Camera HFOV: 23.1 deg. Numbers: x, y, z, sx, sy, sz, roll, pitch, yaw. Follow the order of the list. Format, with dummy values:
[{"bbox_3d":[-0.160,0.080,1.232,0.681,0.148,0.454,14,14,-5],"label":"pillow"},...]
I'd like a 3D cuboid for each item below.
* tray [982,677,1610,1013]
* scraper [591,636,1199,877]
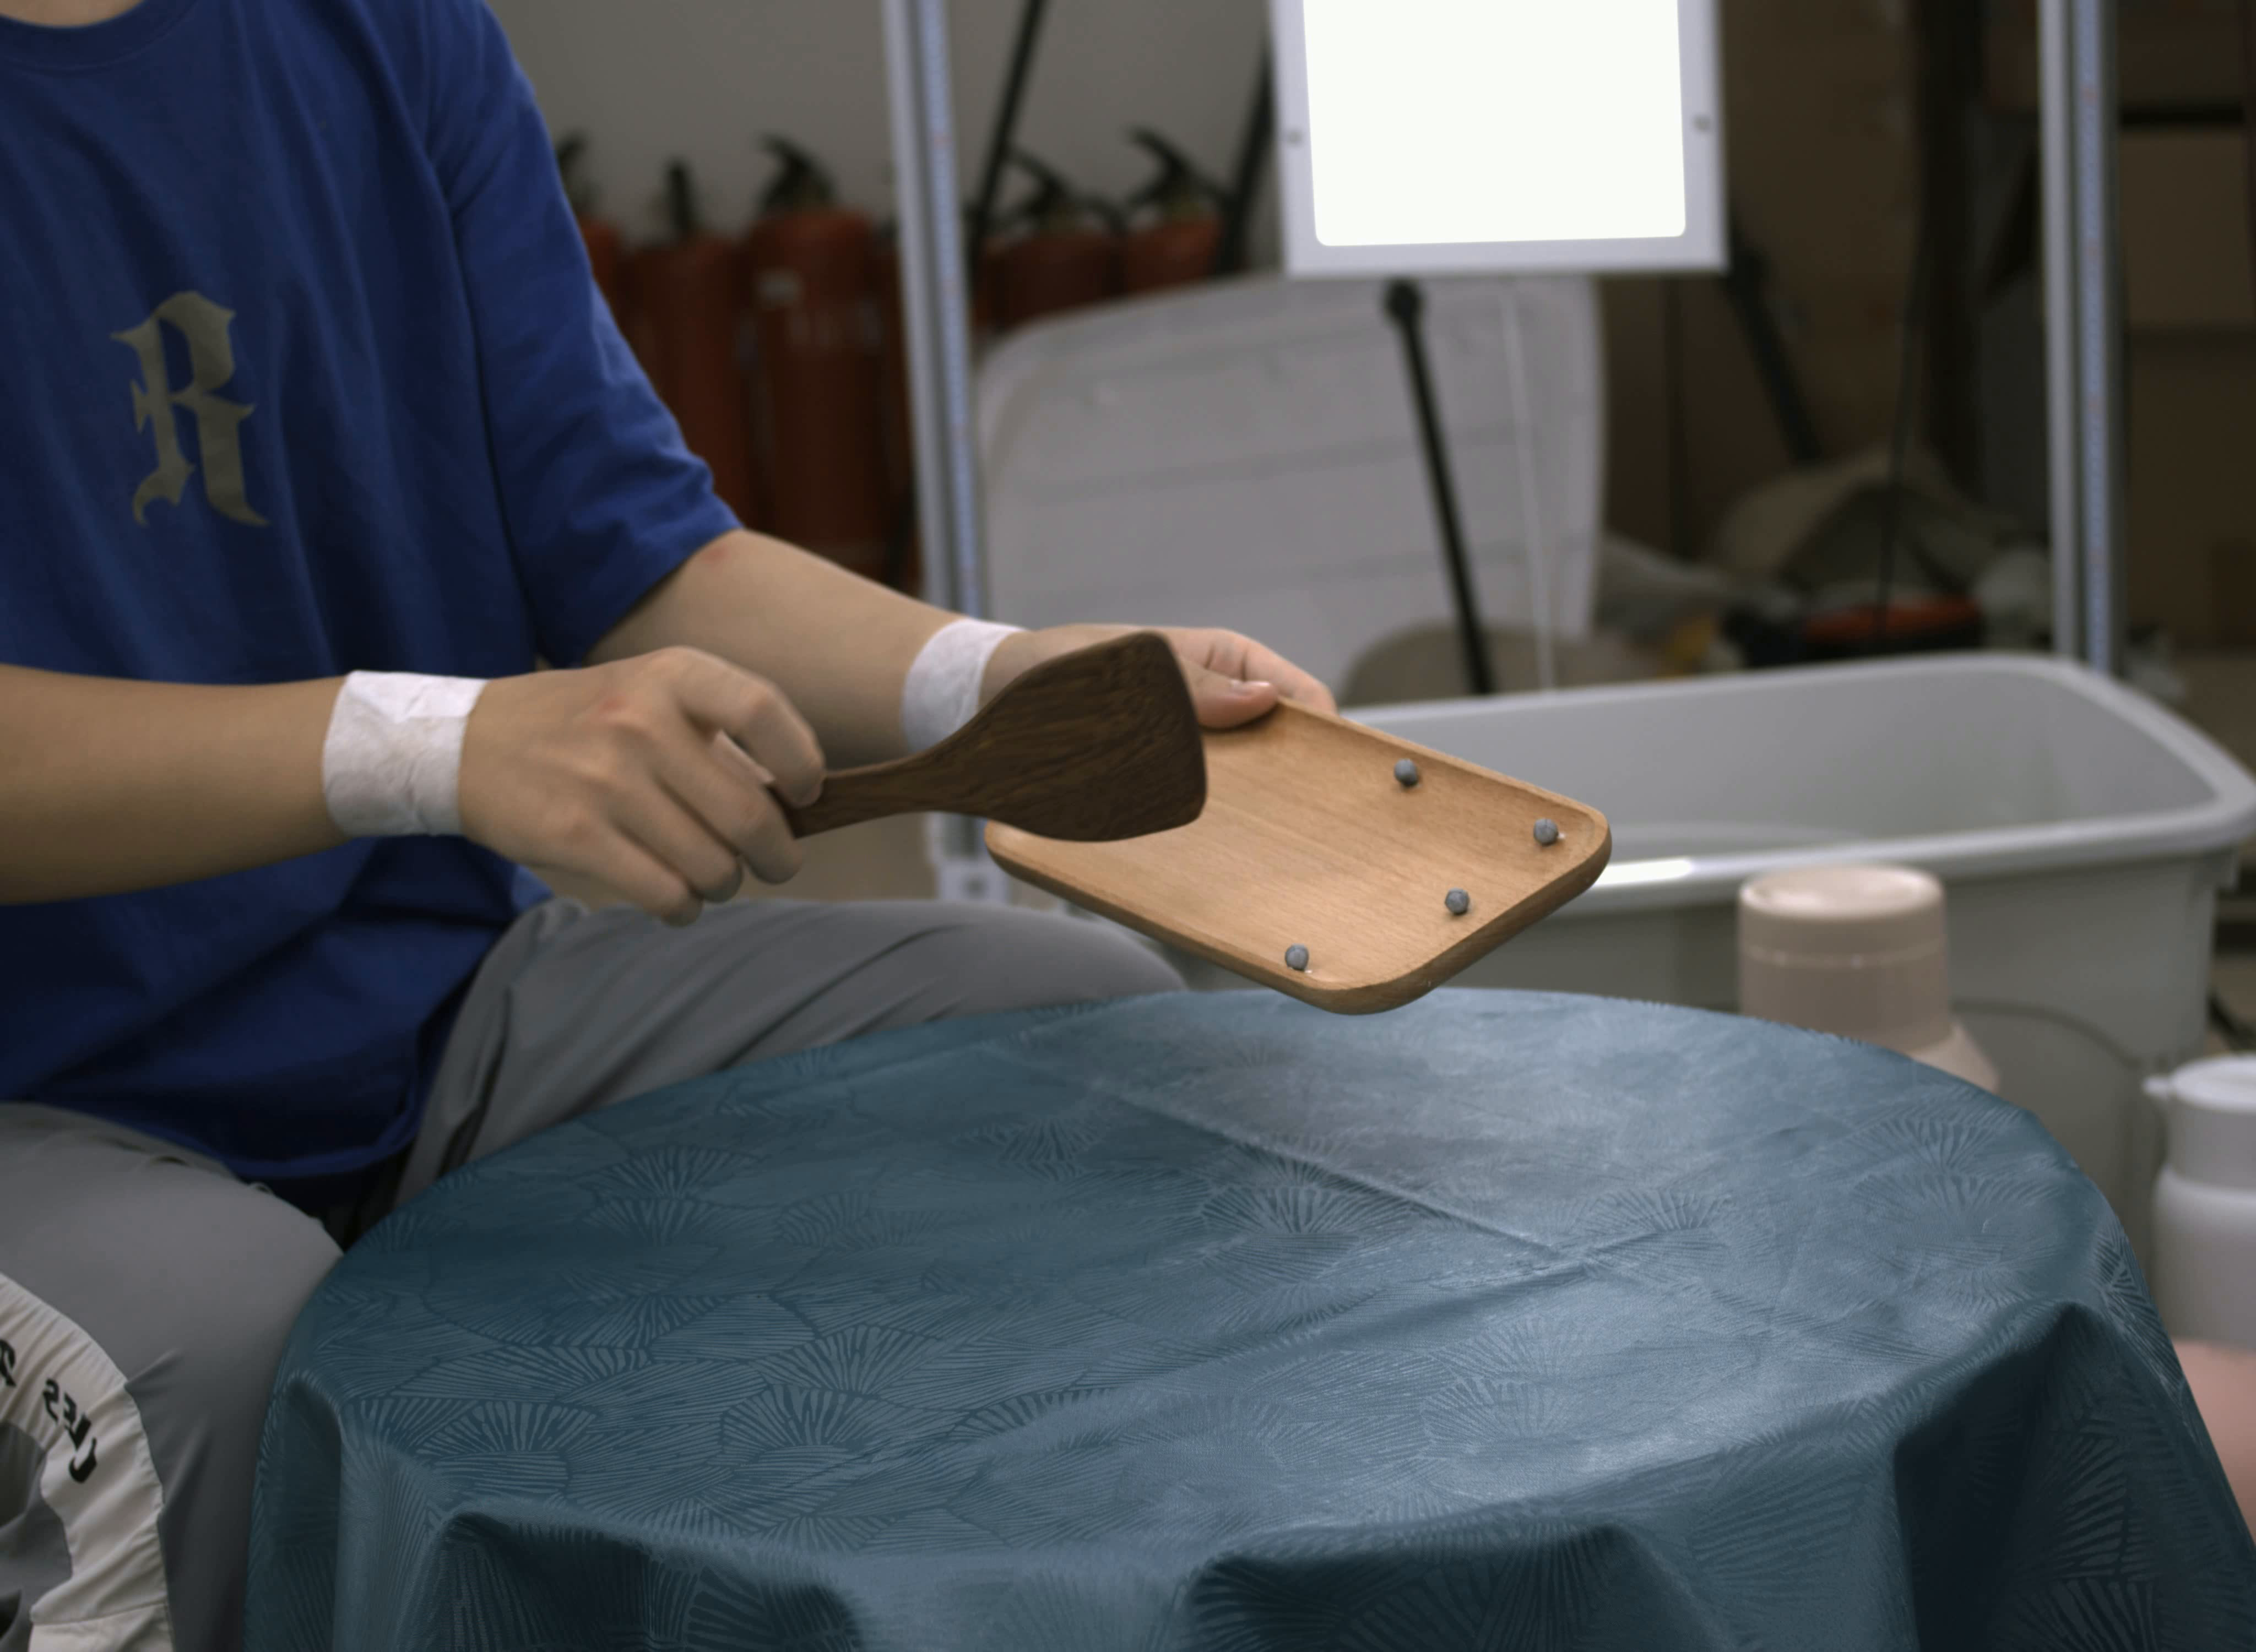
[{"bbox_3d":[0.056,0.005,1.926,0.128,0.023,0.255,-29,27,-23],"label":"tray"},{"bbox_3d":[-0.081,-0.013,1.878,0.213,0.076,0.011,-11,29,13],"label":"scraper"}]
